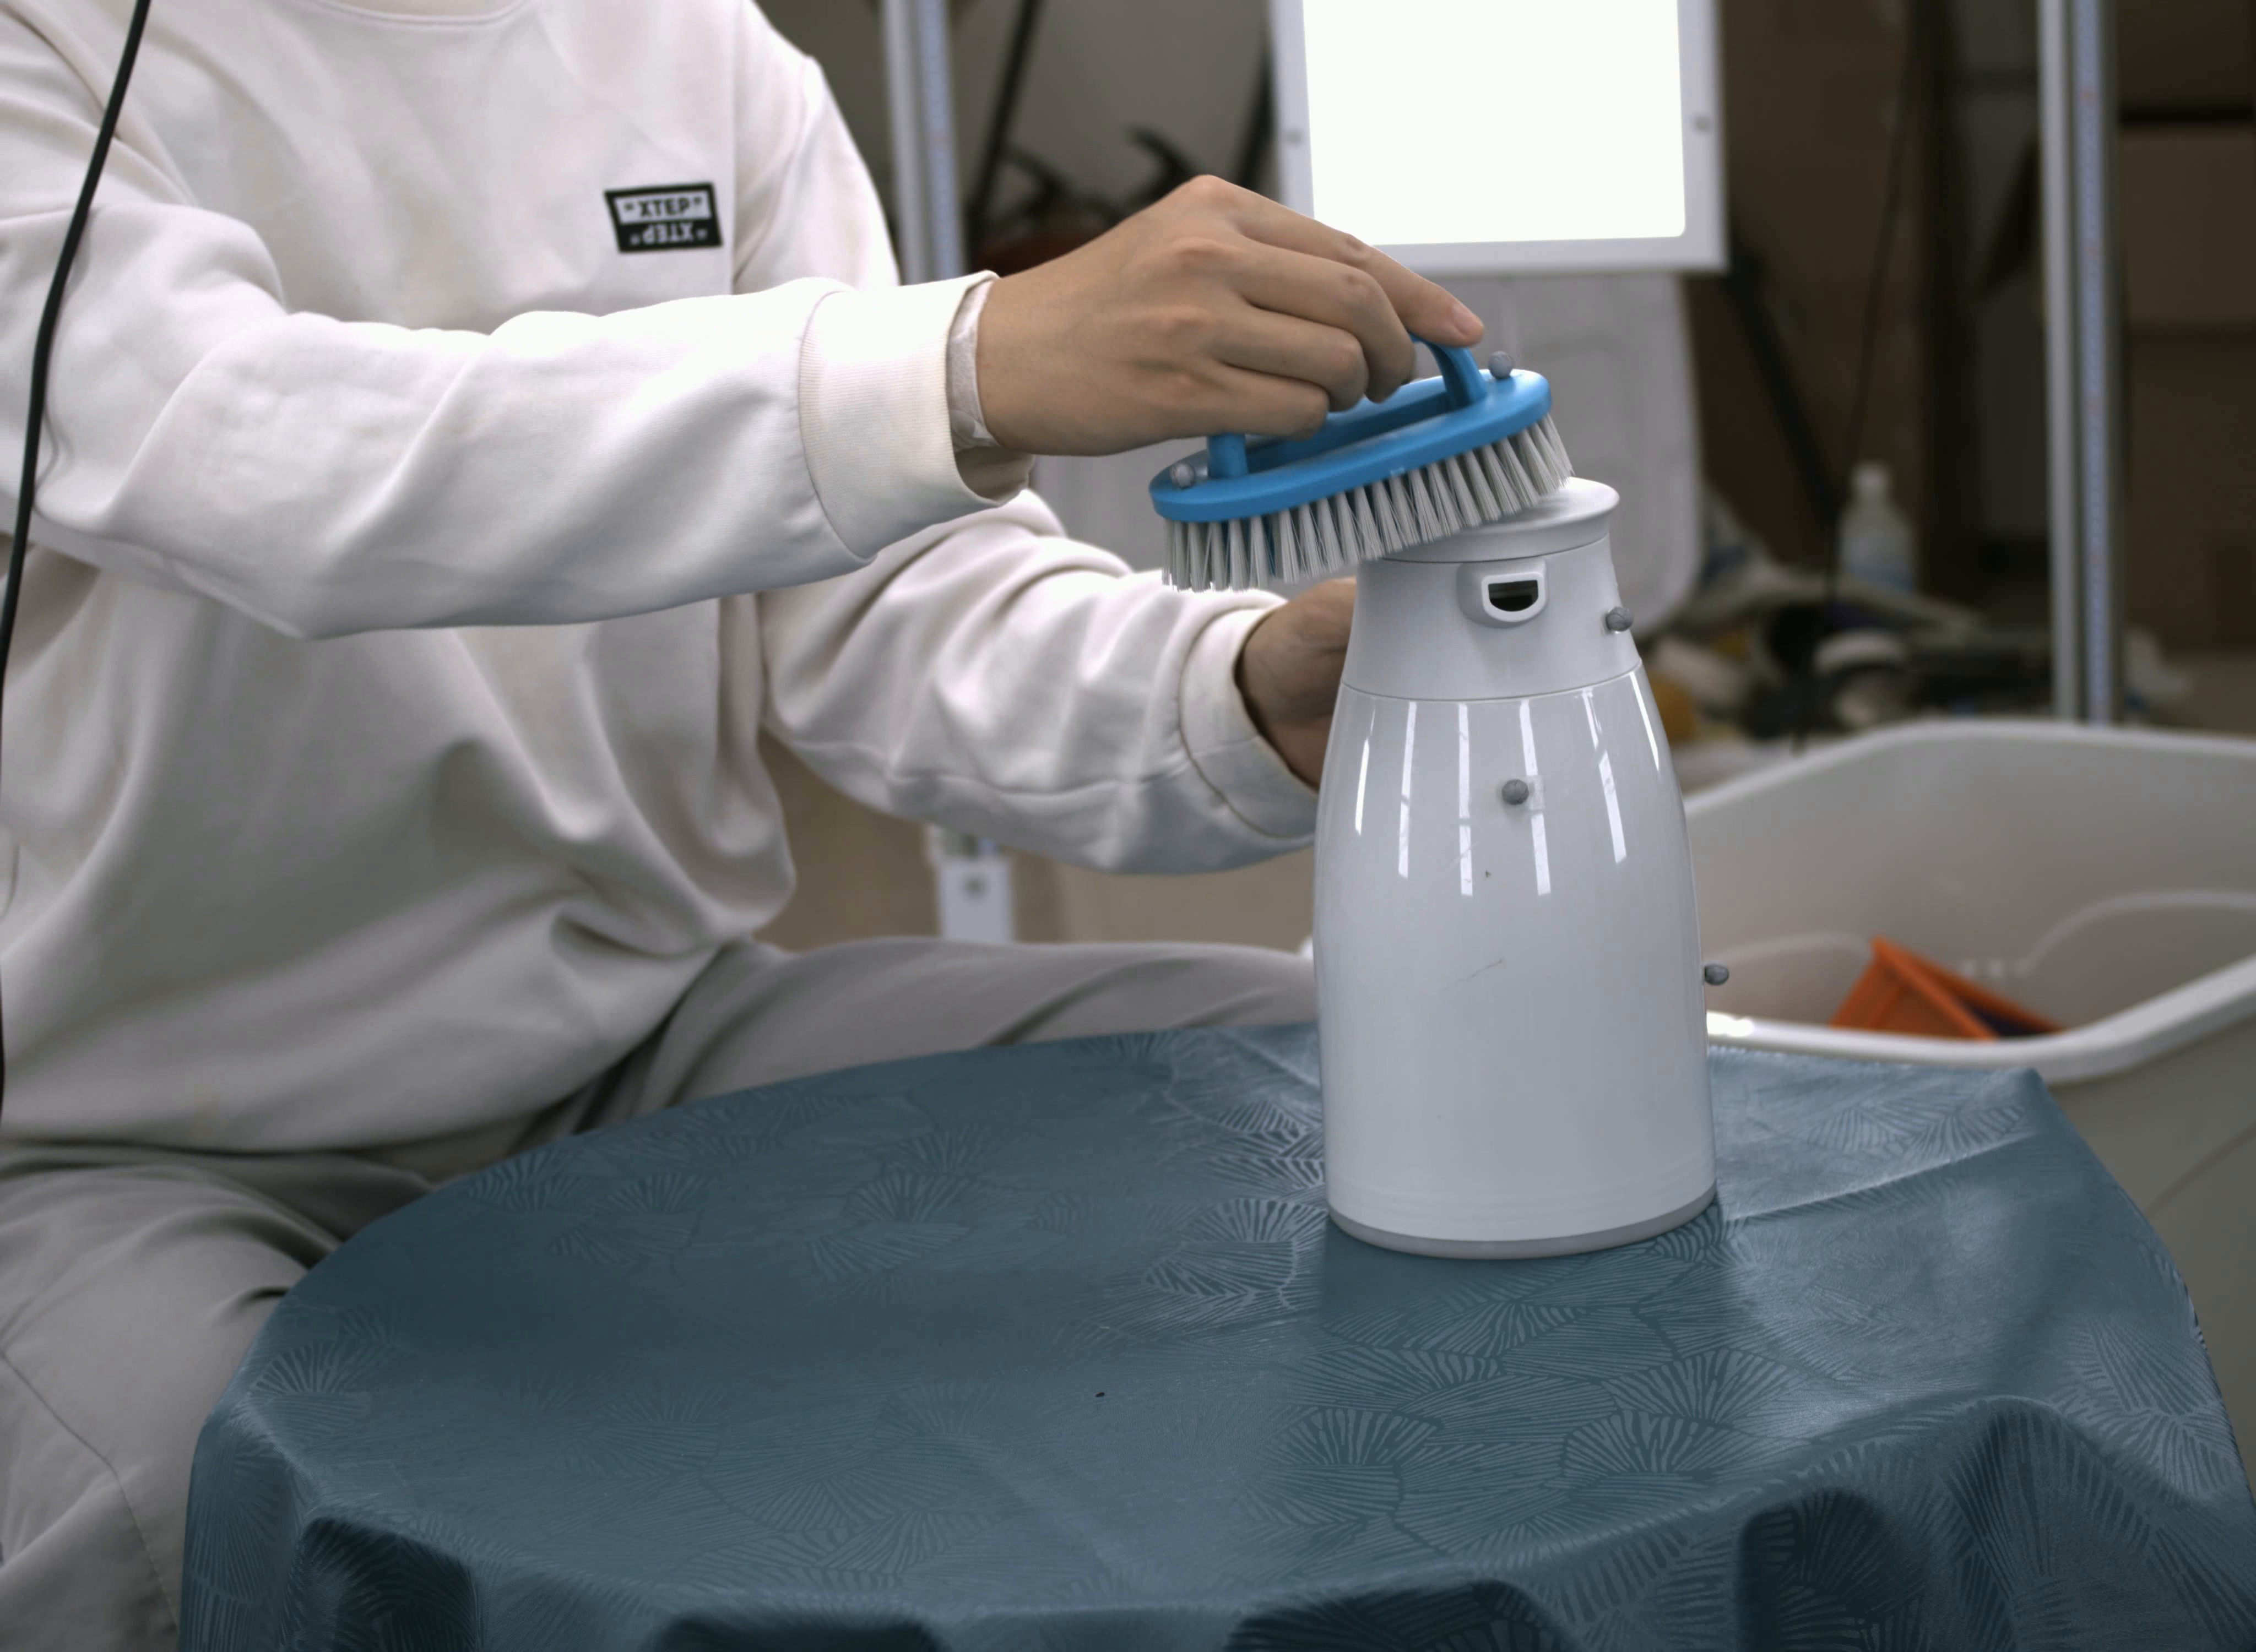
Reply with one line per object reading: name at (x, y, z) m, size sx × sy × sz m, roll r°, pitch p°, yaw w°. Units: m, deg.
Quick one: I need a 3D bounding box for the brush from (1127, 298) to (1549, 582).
brush at (0.067, -0.130, 1.761) m, size 0.140 × 0.064 × 0.085 m, roll -20°, pitch 21°, yaw -12°

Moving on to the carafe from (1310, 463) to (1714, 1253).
carafe at (0.121, 0.000, 1.842) m, size 0.132 × 0.249 × 0.168 m, roll -6°, pitch 13°, yaw -4°
